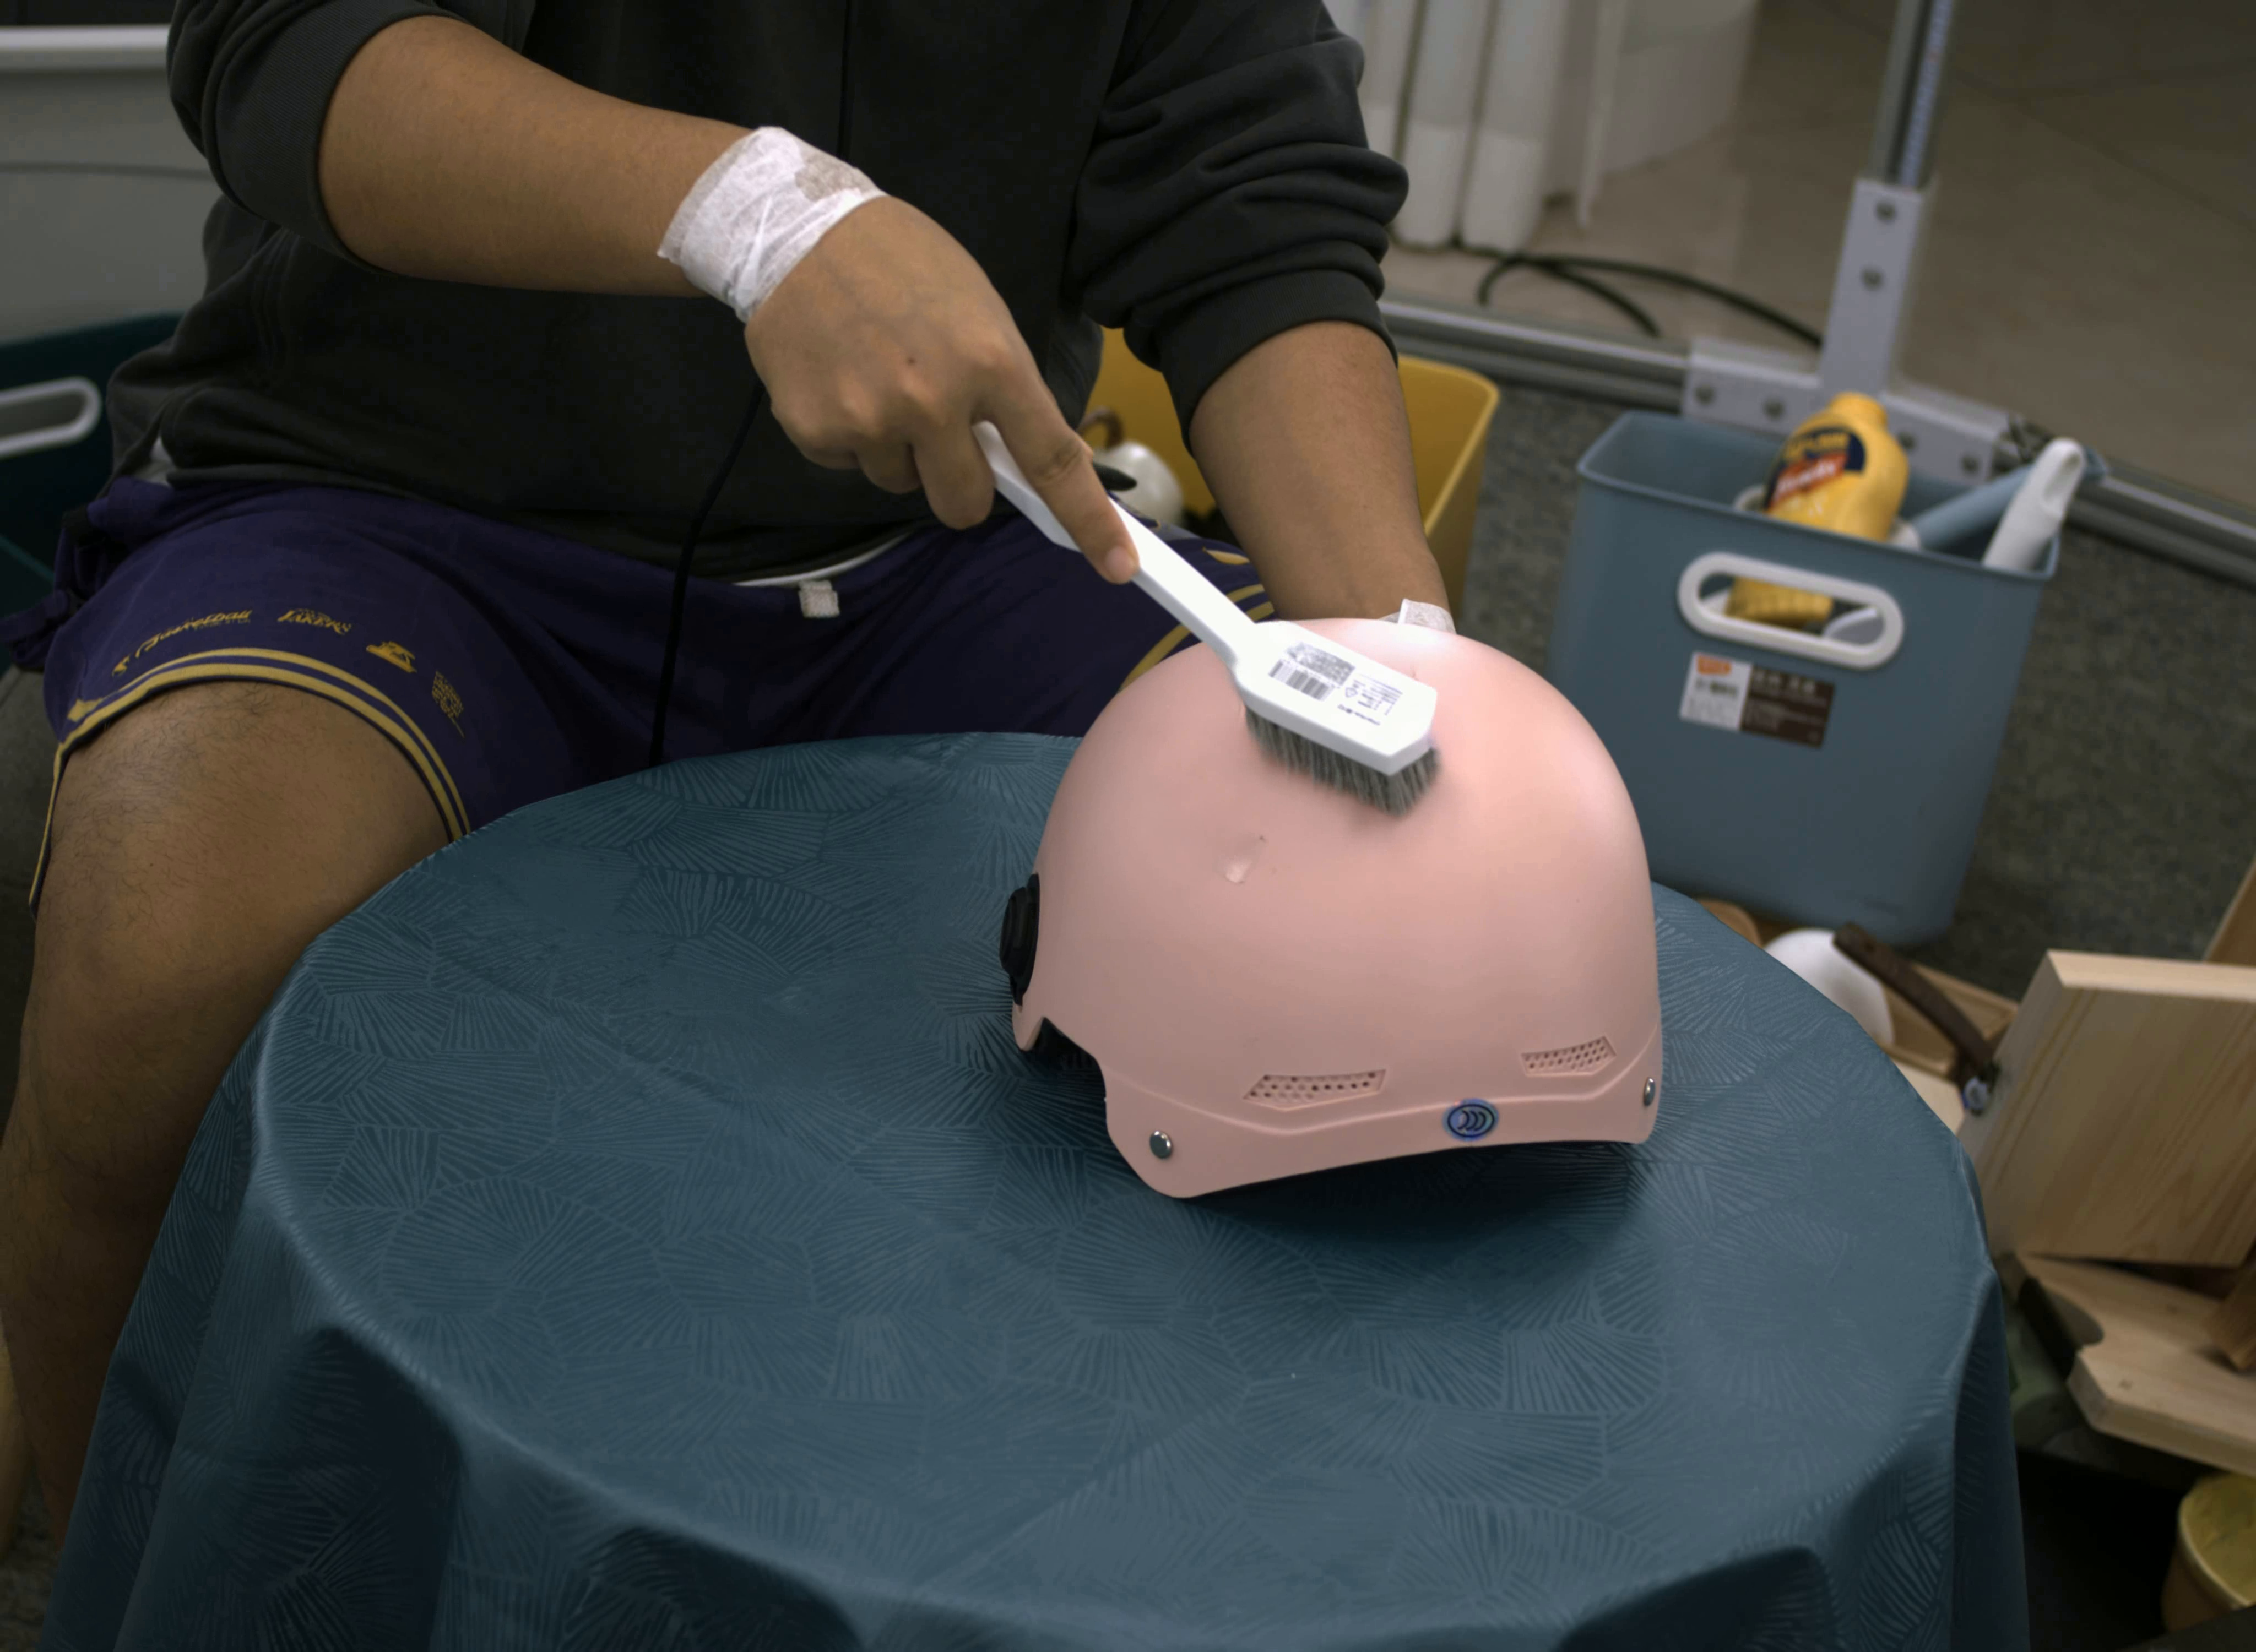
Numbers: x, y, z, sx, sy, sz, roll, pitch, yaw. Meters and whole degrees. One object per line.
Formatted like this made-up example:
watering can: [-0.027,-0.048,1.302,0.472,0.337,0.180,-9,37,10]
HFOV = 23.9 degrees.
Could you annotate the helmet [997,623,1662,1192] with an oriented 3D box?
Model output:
helmet: [0.073,0.008,1.865,0.233,0.158,0.268,-6,26,-15]

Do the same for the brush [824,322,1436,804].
brush: [-0.002,-0.086,1.764,0.243,0.050,0.034,33,59,4]
